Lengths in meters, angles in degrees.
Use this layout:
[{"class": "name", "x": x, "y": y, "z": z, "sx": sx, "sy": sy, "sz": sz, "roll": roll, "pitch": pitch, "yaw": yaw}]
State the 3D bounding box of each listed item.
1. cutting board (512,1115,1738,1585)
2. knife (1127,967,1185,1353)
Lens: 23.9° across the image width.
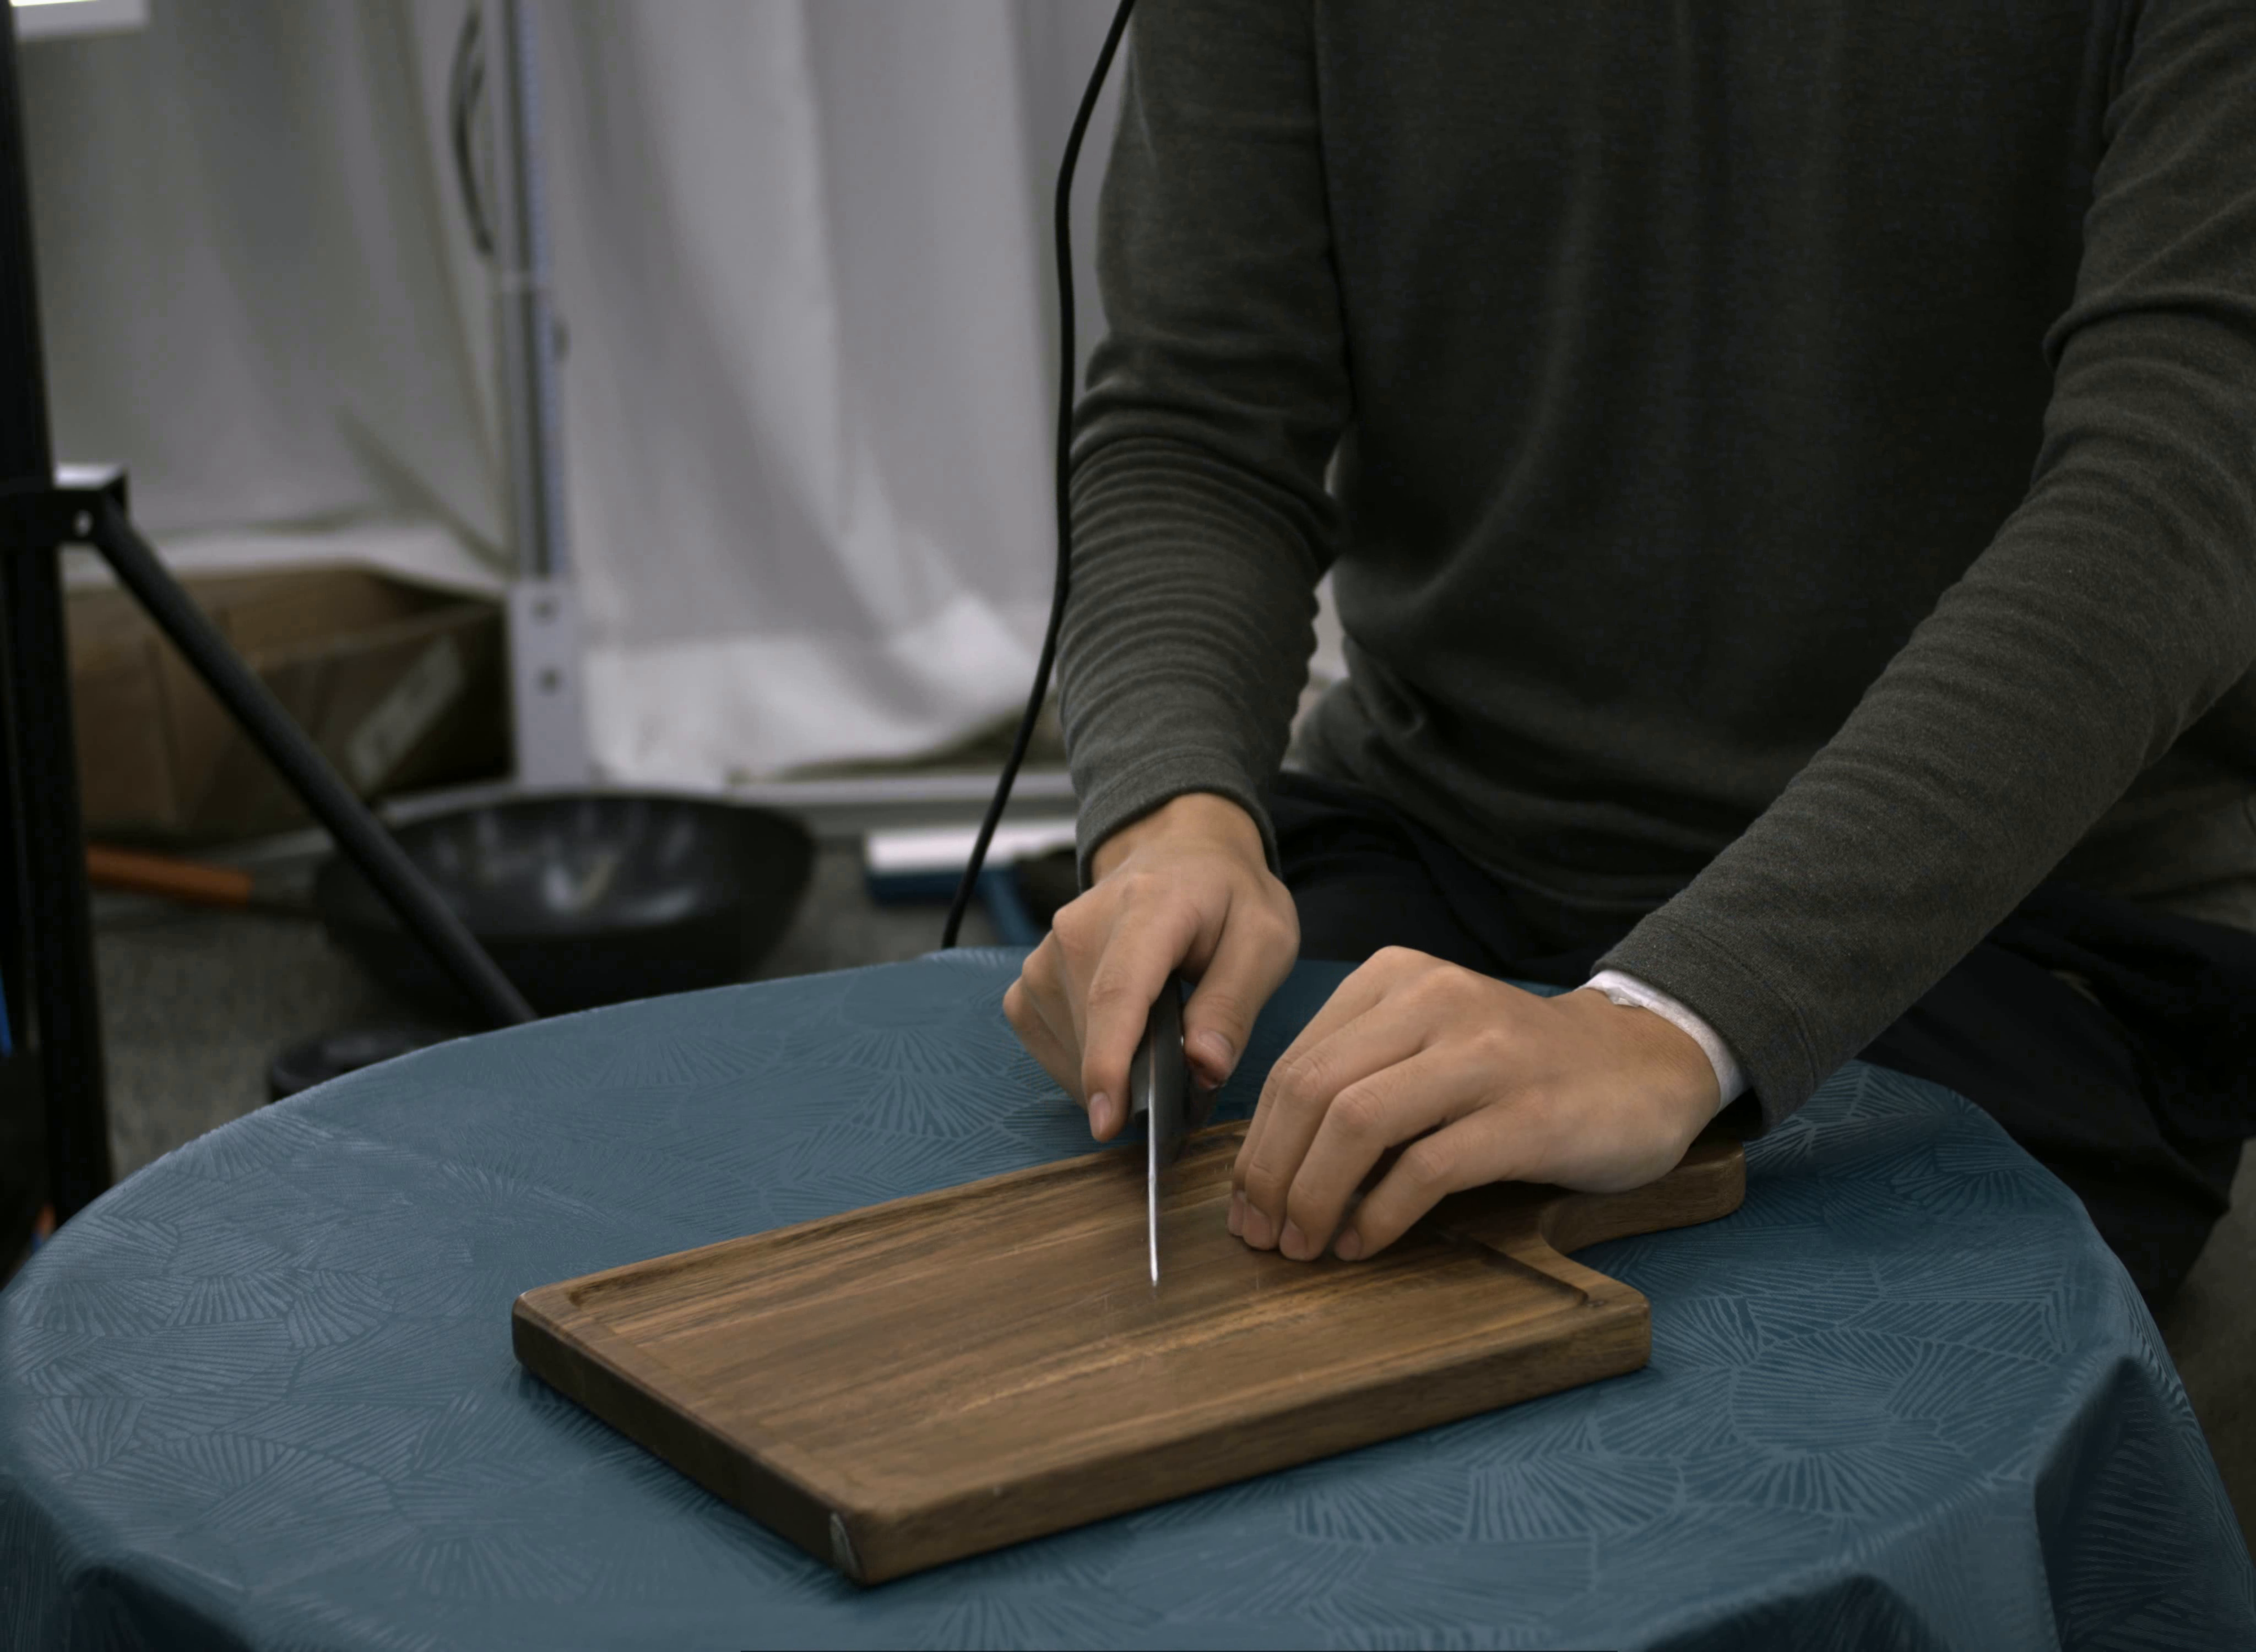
[{"class": "cutting board", "x": 0.029, "y": 0.127, "z": 1.452, "sx": 0.344, "sy": 0.023, "sz": 0.205, "roll": -11, "pitch": 18, "yaw": -30}, {"class": "knife", "x": 0.009, "y": 0.091, "z": 1.500, "sx": 0.016, "sy": 0.024, "sz": 0.239, "roll": -7, "pitch": 21, "yaw": 3}]
